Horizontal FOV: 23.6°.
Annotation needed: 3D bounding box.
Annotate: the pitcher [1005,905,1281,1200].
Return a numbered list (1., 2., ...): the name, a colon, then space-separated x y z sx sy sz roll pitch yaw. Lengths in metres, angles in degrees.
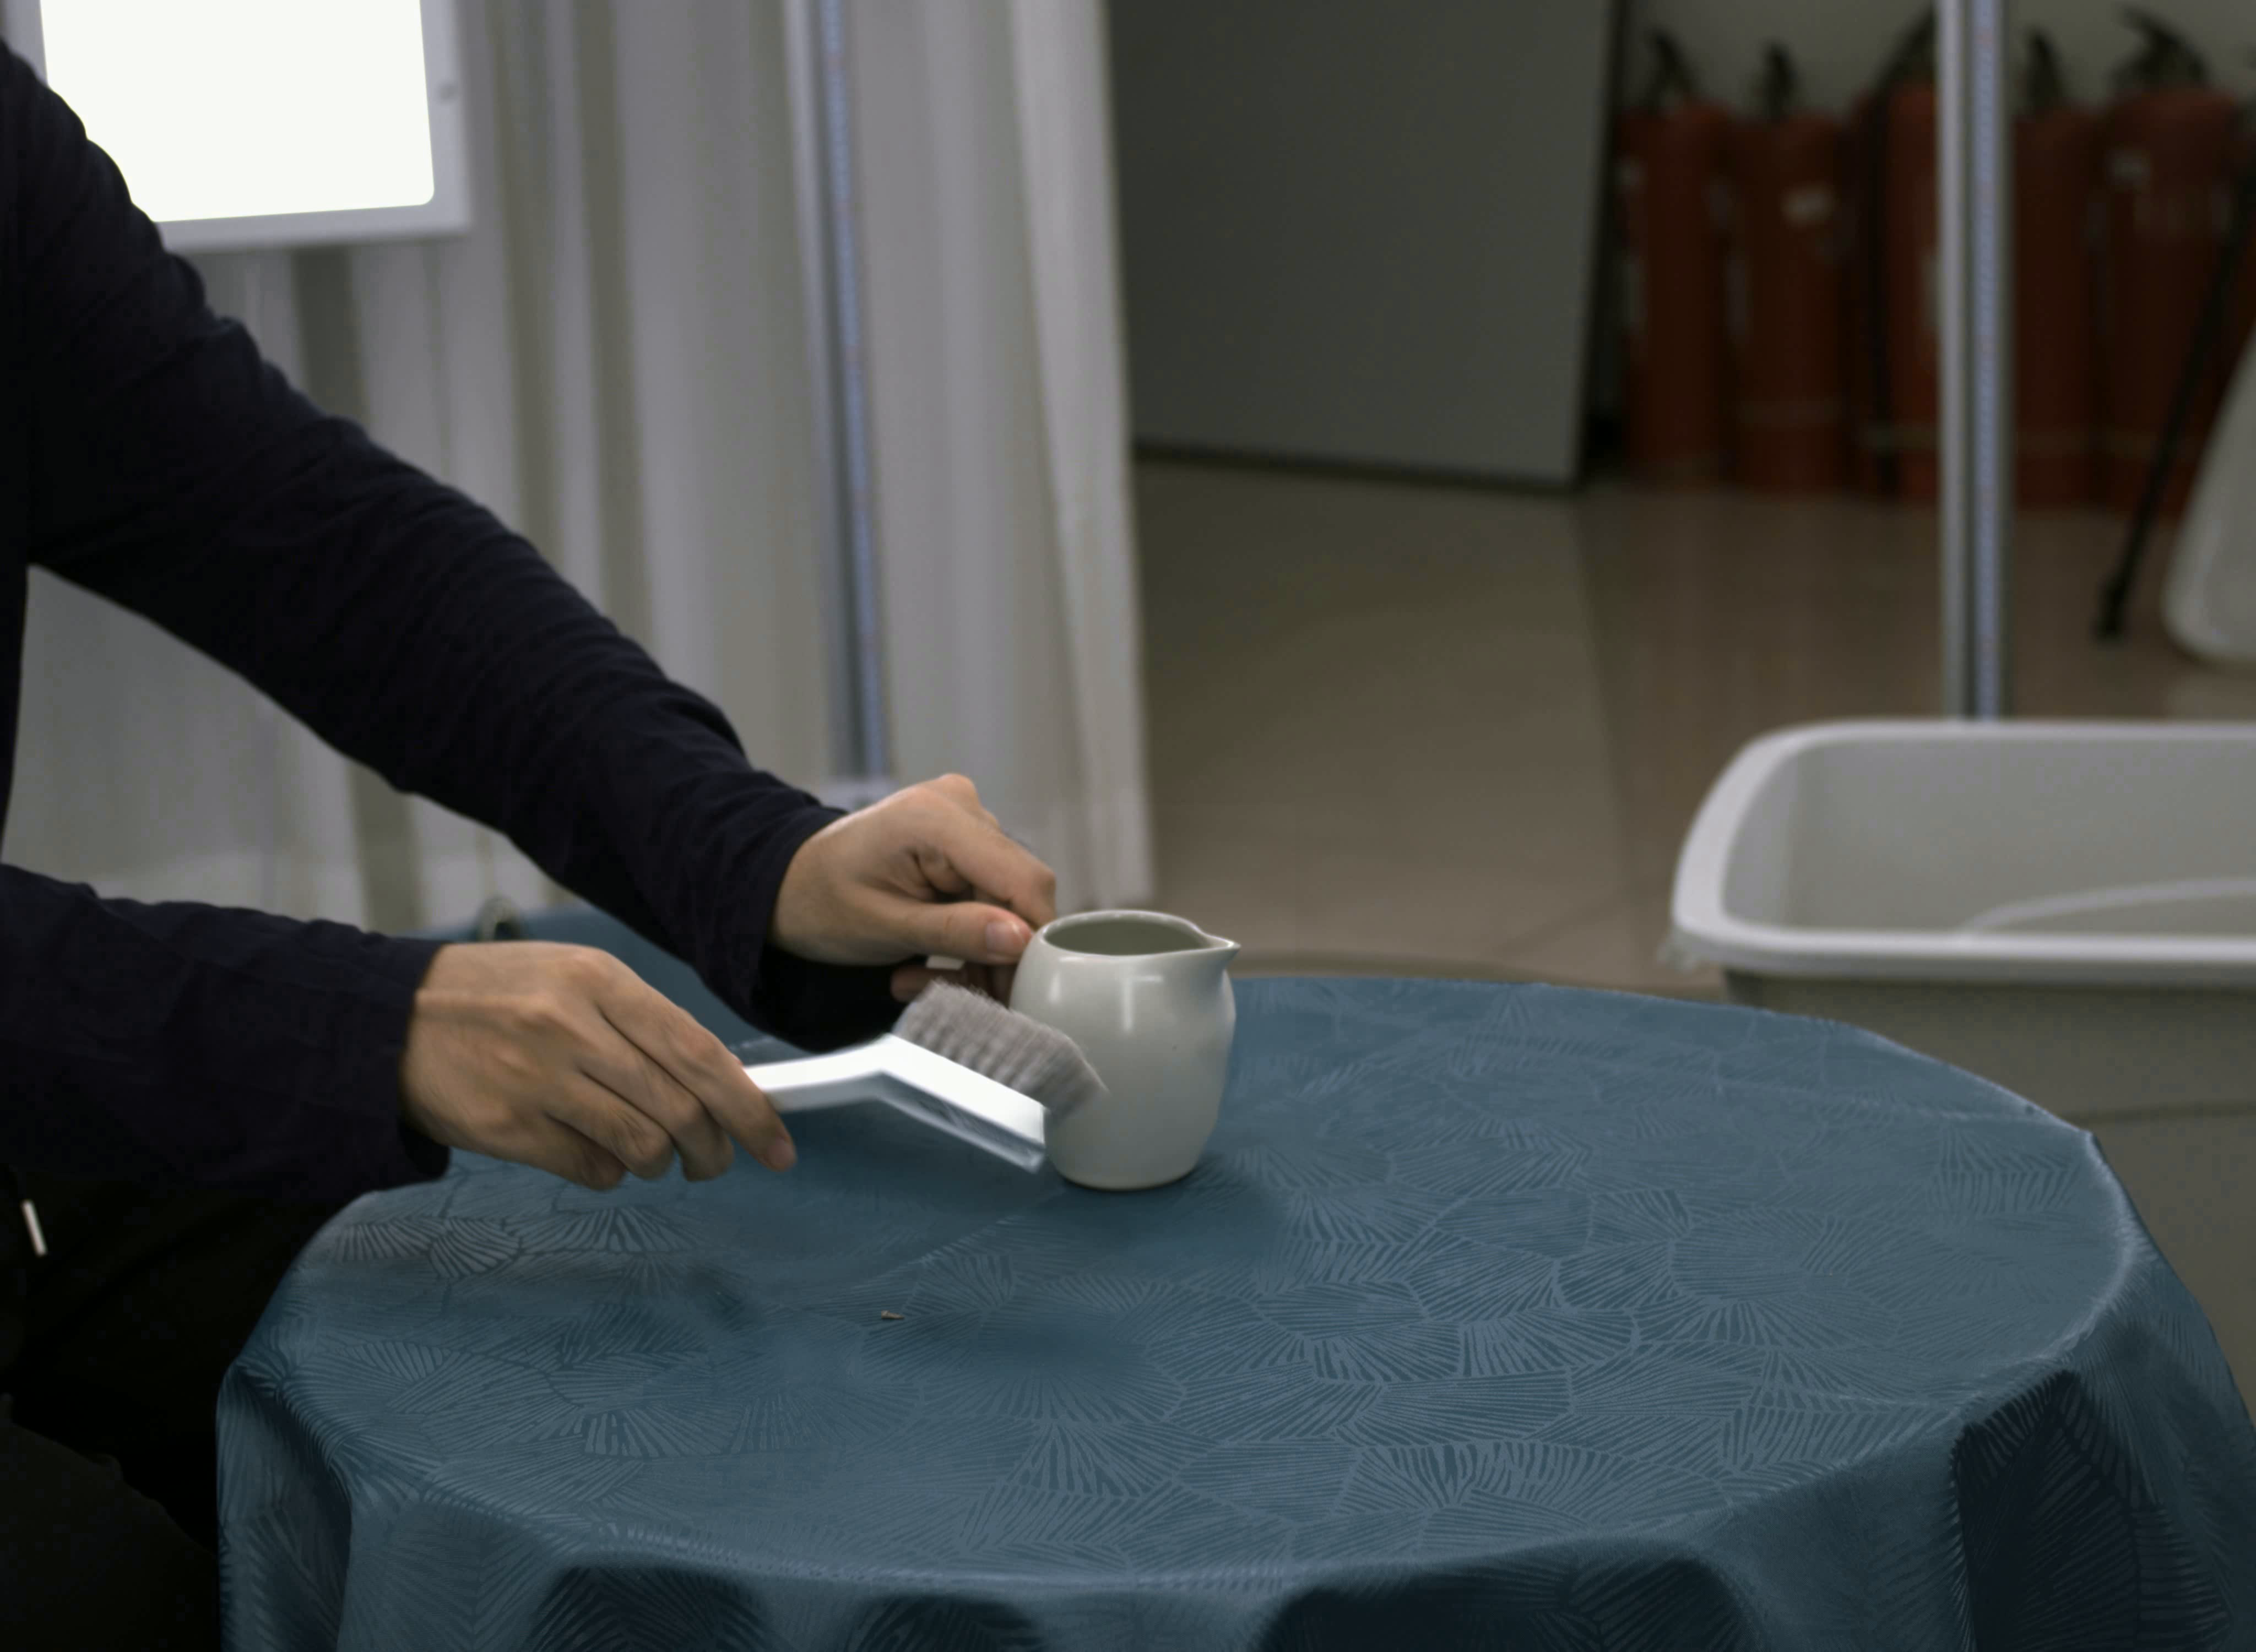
1. pitcher: 0.002 0.072 1.782 0.120 0.089 0.074 17 19 41

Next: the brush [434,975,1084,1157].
1. brush: -0.120 0.072 1.714 0.245 0.050 0.034 1 -24 35
